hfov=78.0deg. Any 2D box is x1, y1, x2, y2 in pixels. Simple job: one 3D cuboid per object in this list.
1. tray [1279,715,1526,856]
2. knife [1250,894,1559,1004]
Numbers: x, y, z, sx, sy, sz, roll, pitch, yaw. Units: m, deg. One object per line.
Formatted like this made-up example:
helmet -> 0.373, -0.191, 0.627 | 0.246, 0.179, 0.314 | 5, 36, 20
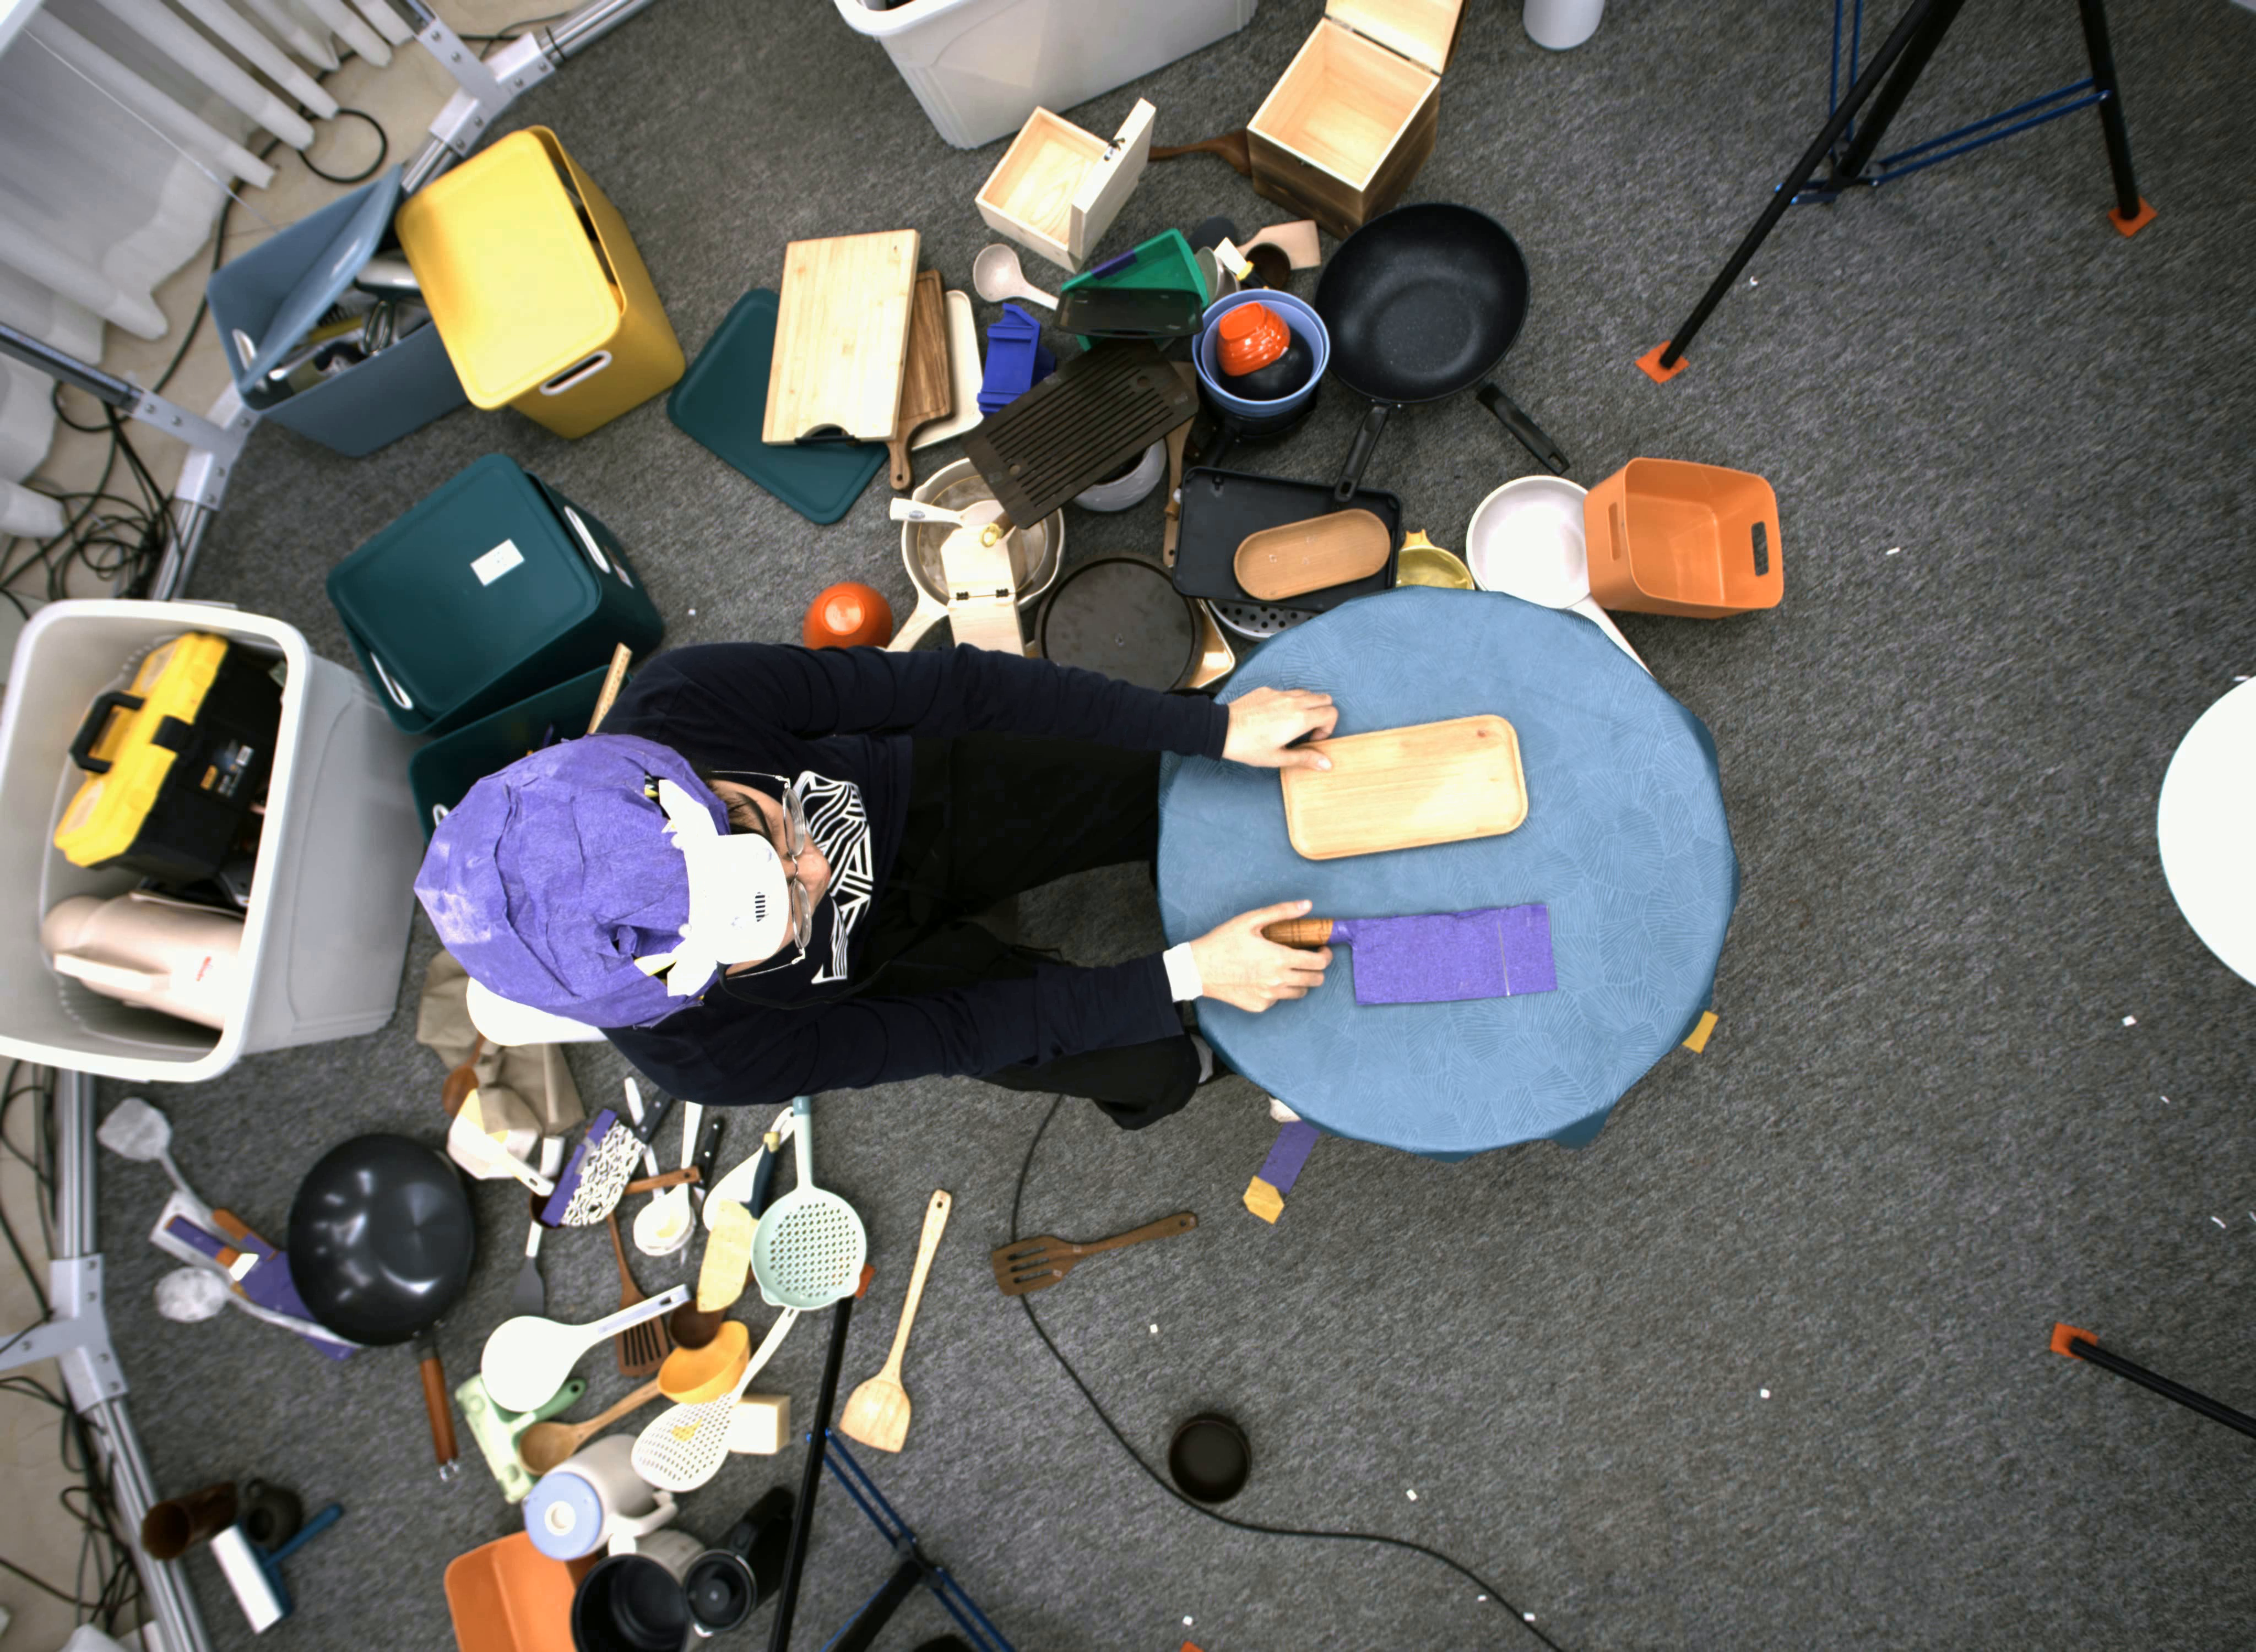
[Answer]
tray -> 0.288, -0.043, 1.455 | 0.252, 0.023, 0.129 | -6, 83, 11
knife -> 0.287, 0.135, 1.440 | 0.317, 0.032, 0.103 | -6, 85, 10
